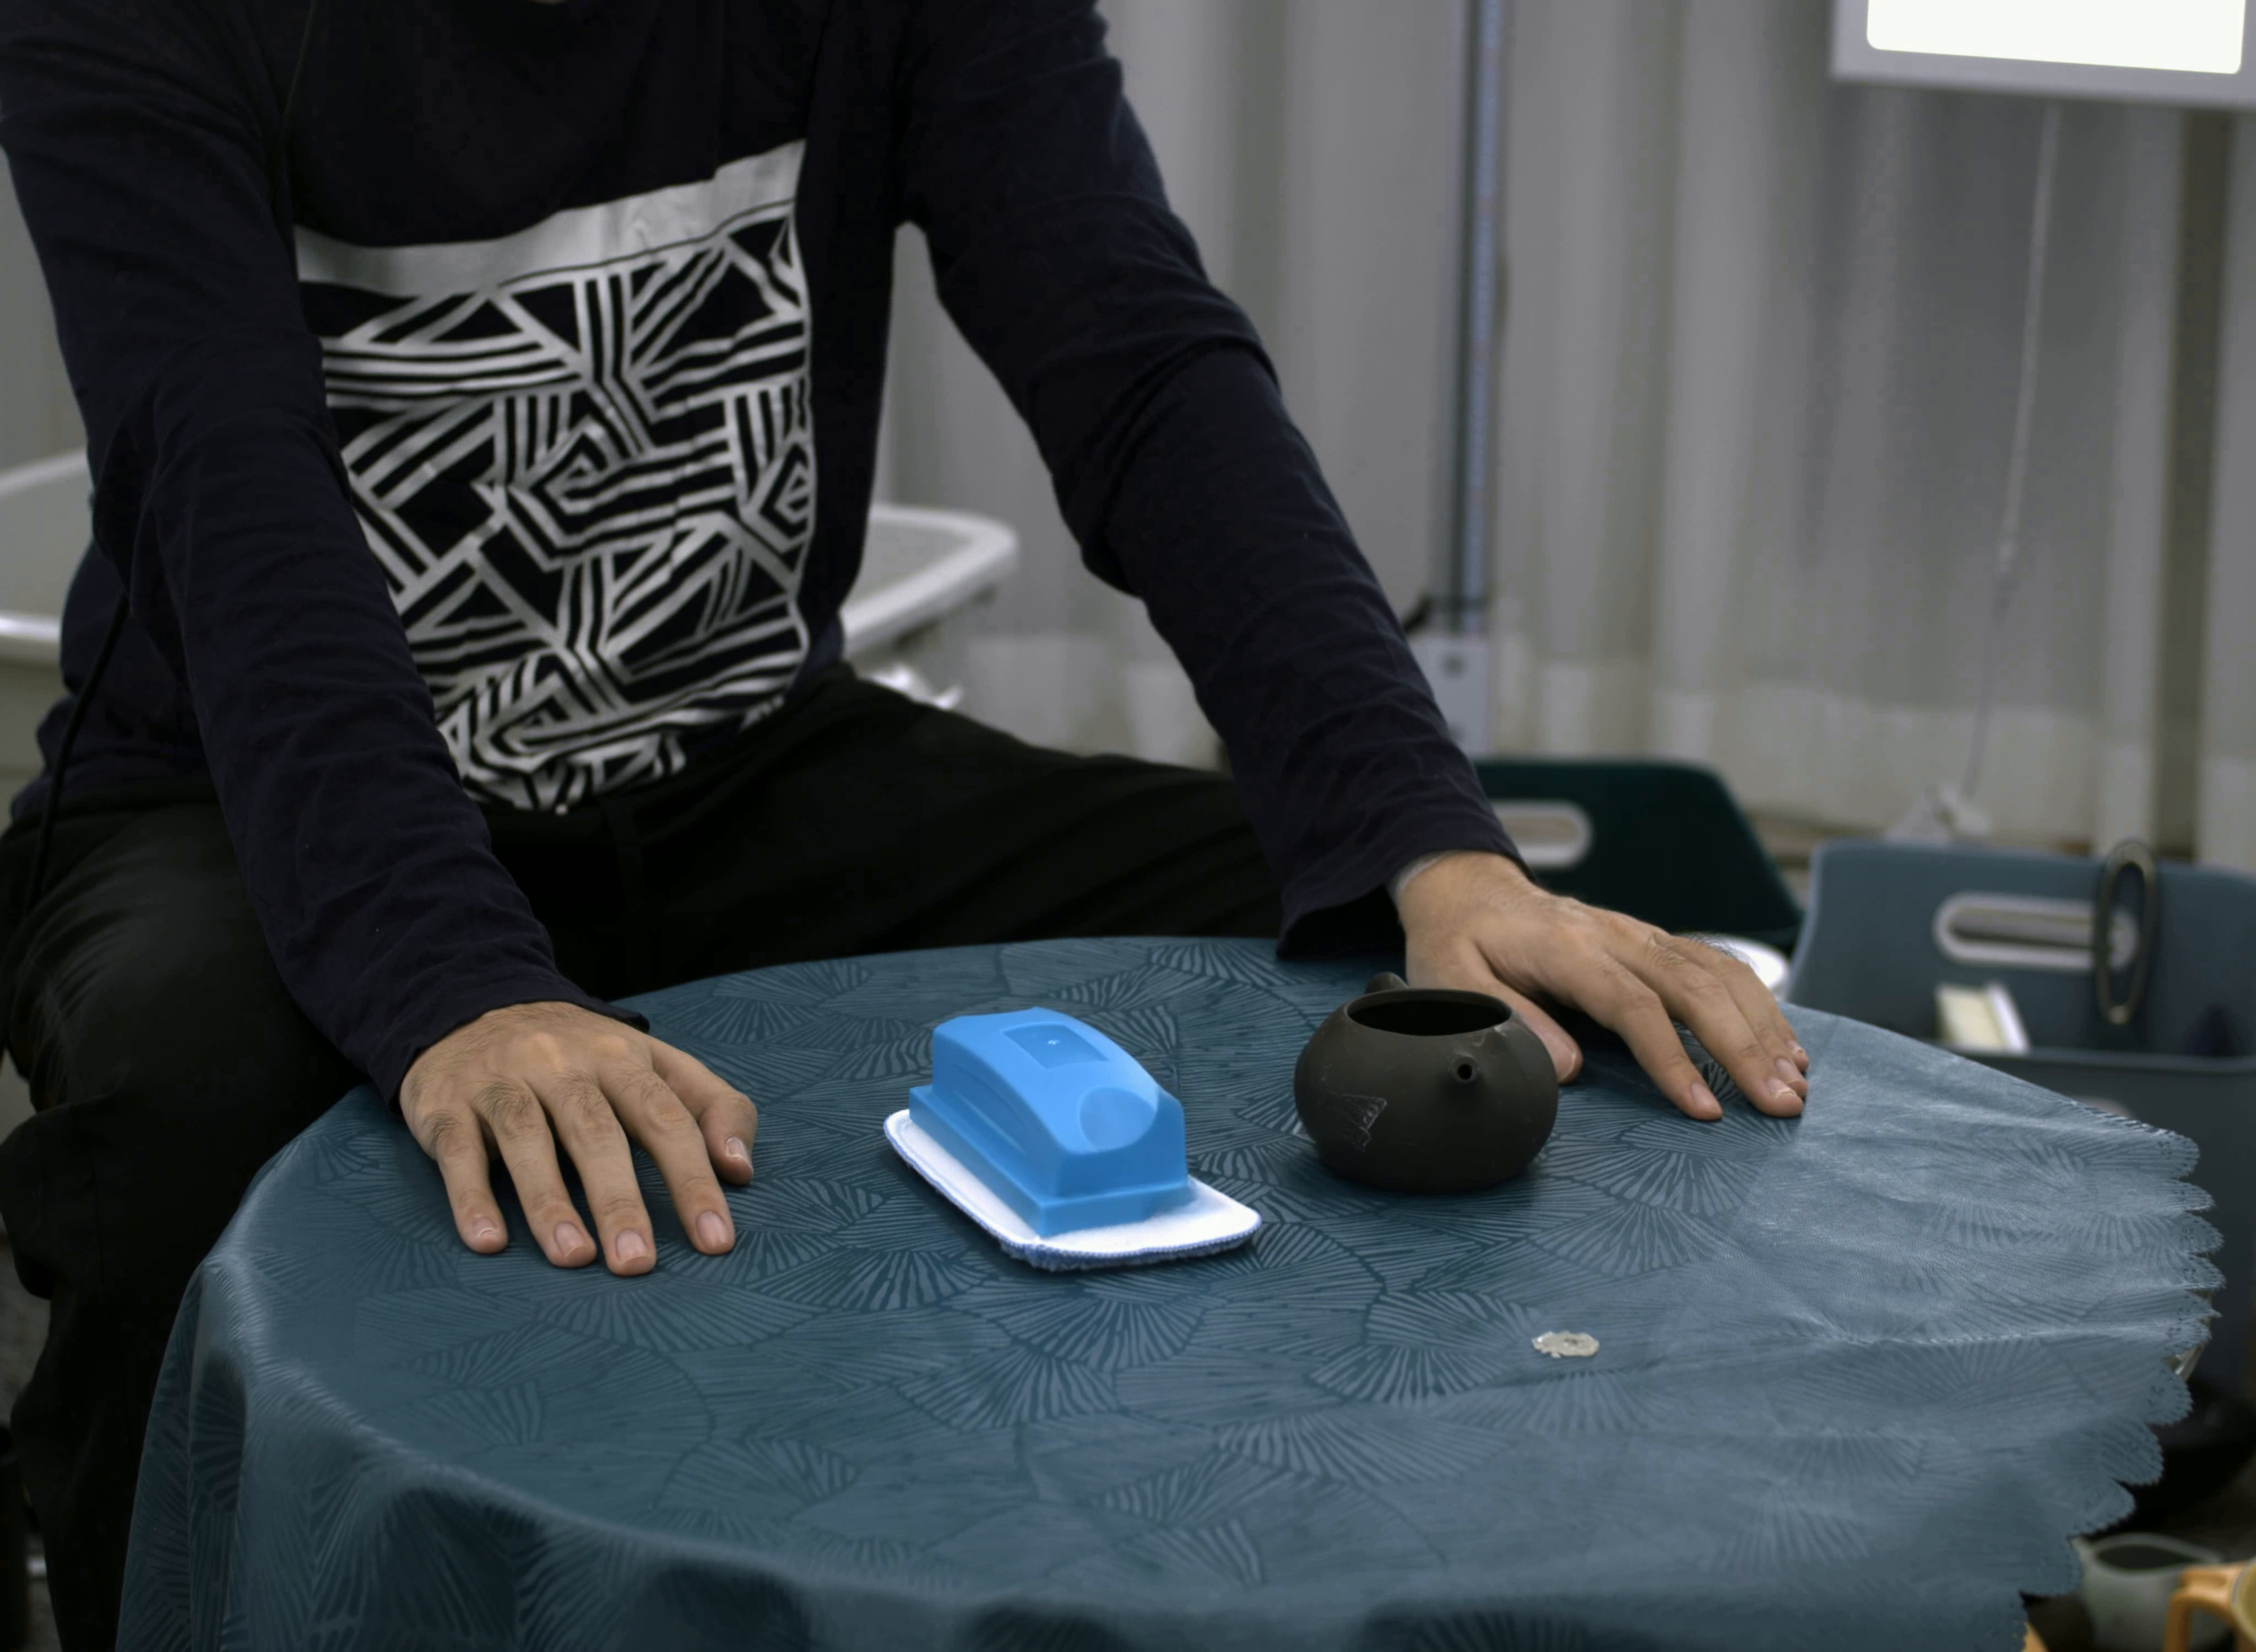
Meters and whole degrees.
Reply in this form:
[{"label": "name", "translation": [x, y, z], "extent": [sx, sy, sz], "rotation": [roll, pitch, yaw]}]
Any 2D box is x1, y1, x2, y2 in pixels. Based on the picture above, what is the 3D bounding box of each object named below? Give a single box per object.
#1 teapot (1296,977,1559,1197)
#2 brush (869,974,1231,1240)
[{"label": "teapot", "translation": [0.092, 0.080, 1.656], "extent": [0.083, 0.053, 0.113], "rotation": [2, 18, -9]}, {"label": "brush", "translation": [-0.023, 0.083, 1.615], "extent": [0.084, 0.056, 0.142], "rotation": [-1, 18, -20]}]
